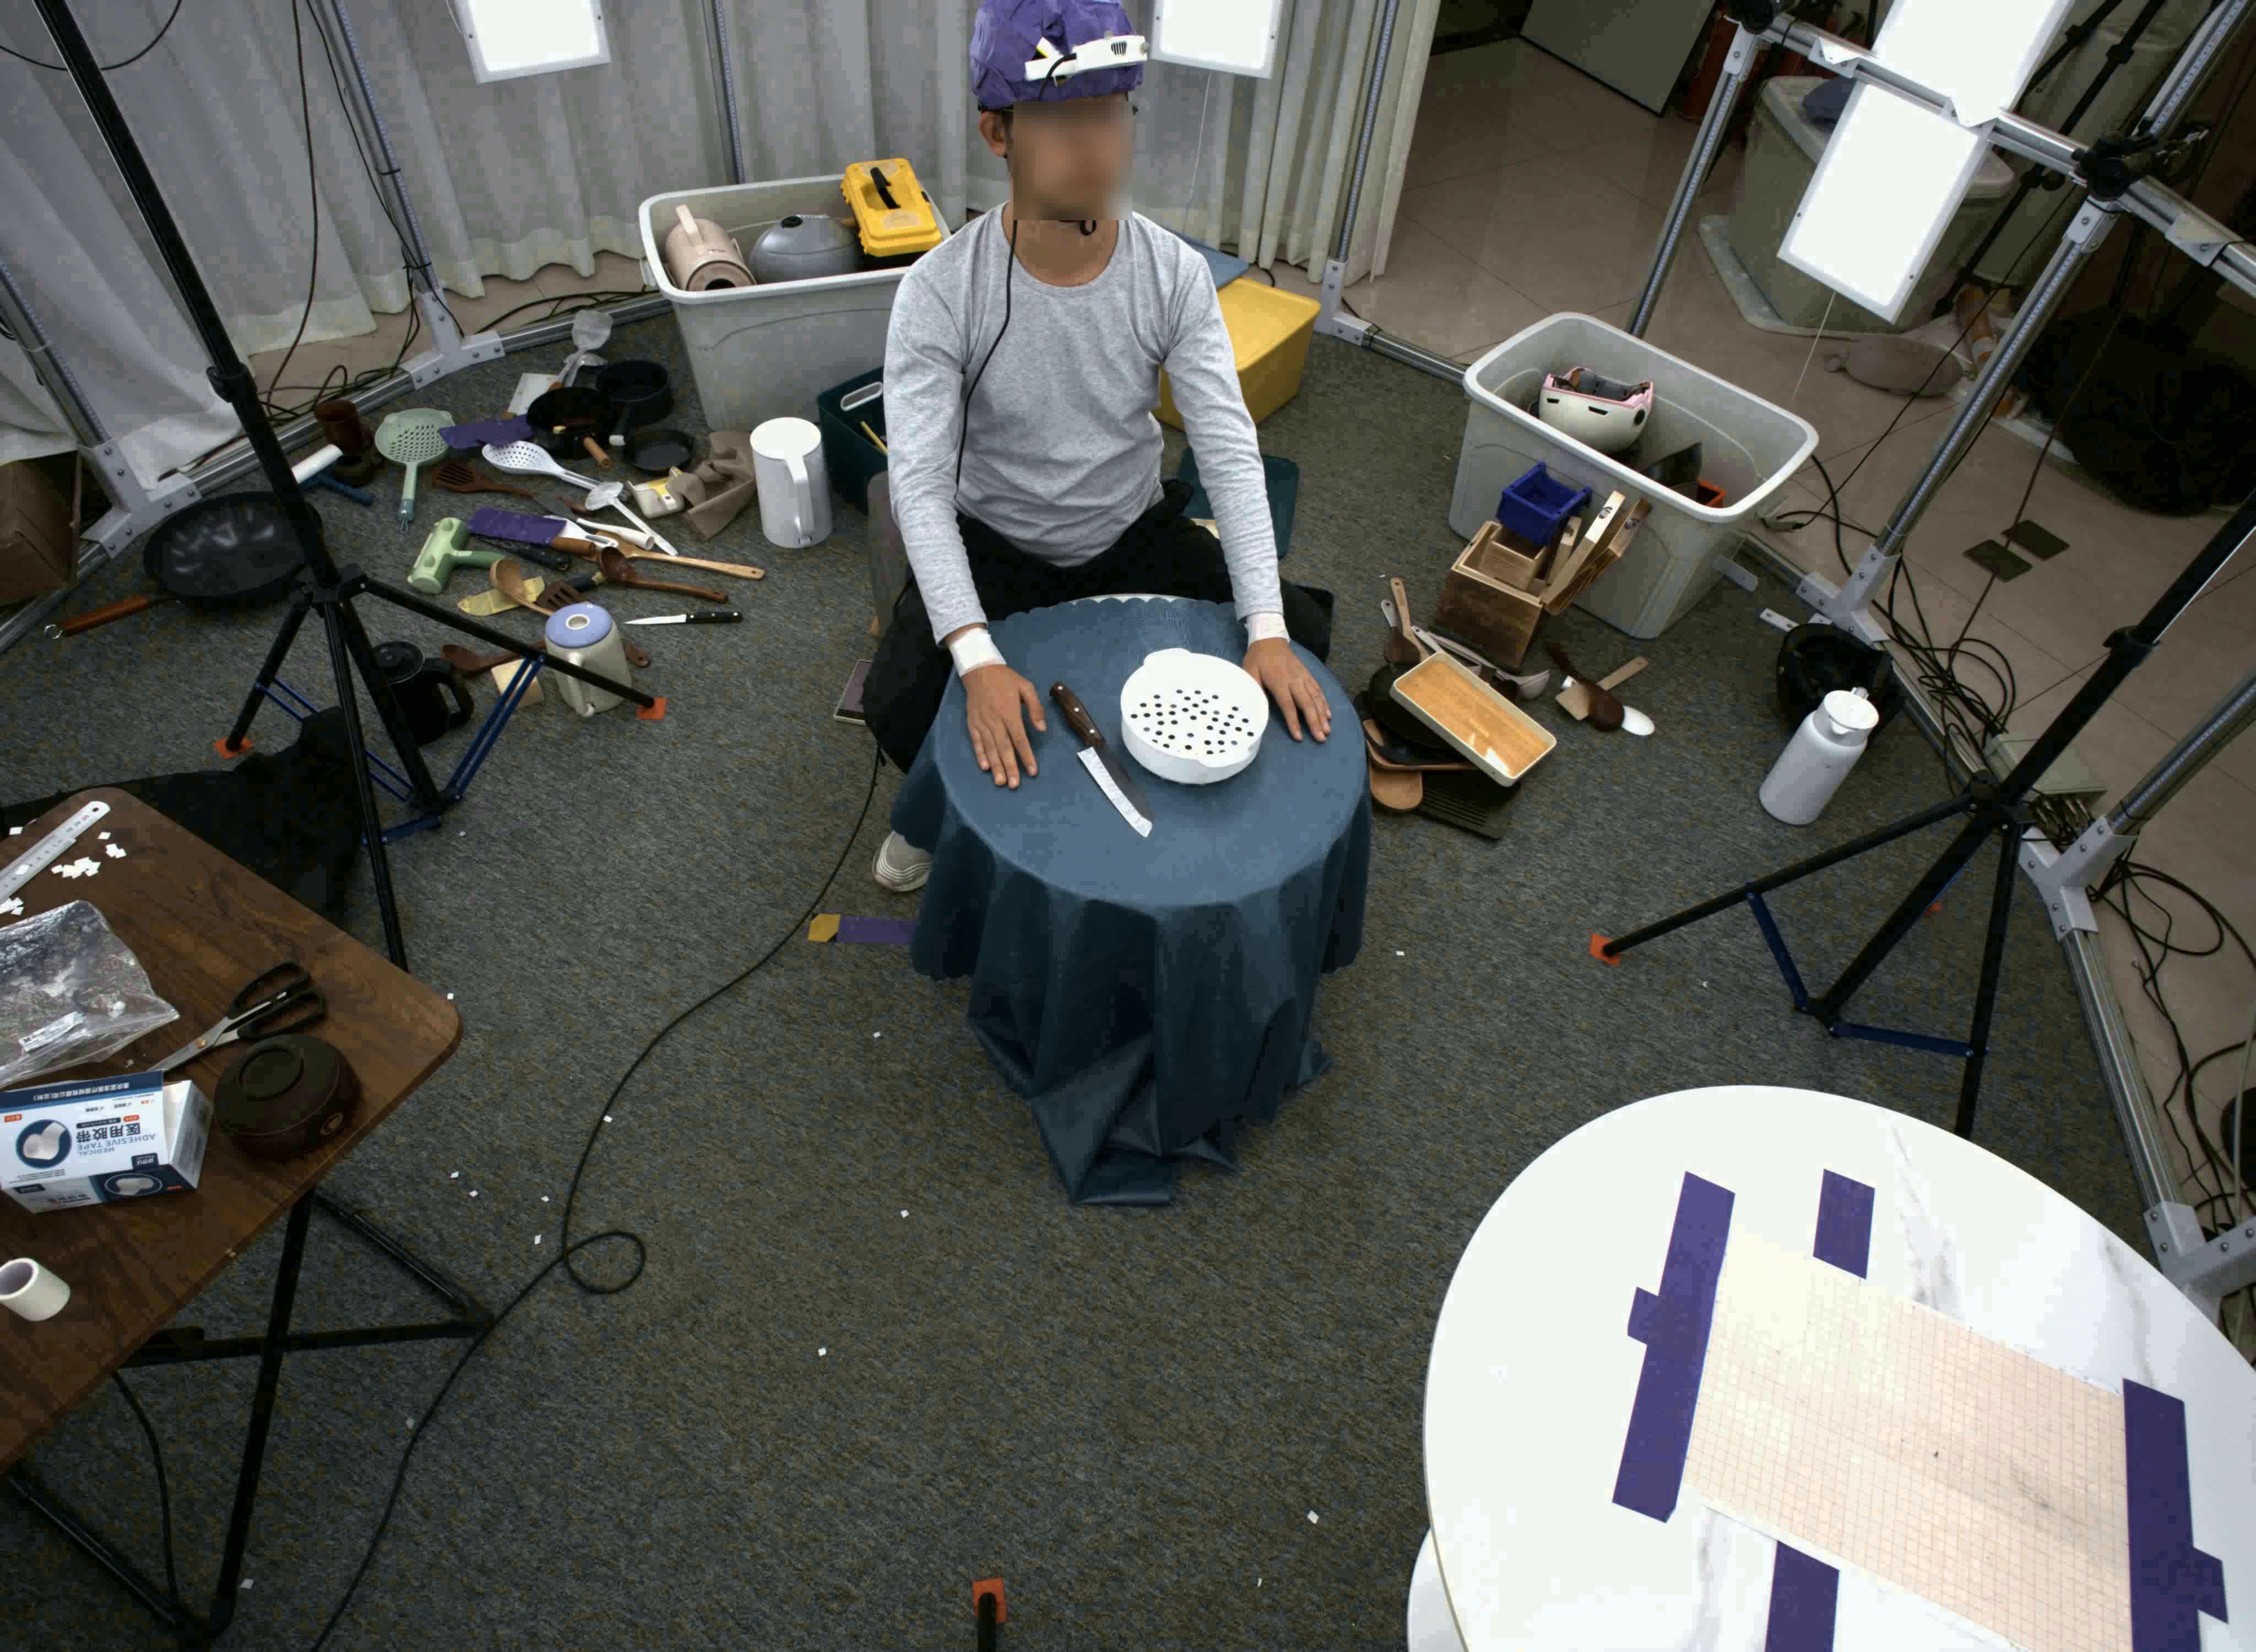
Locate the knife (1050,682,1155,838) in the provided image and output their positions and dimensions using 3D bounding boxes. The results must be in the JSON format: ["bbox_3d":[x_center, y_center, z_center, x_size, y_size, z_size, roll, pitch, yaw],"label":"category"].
[{"bbox_3d":[-0.037,-0.092,1.735,0.050,0.019,0.295,-21,56,-15],"label":"knife"}]

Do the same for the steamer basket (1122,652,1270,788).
[{"bbox_3d":[0.090,-0.142,1.753,0.202,0.067,0.236,-14,51,-16],"label":"steamer basket"}]
